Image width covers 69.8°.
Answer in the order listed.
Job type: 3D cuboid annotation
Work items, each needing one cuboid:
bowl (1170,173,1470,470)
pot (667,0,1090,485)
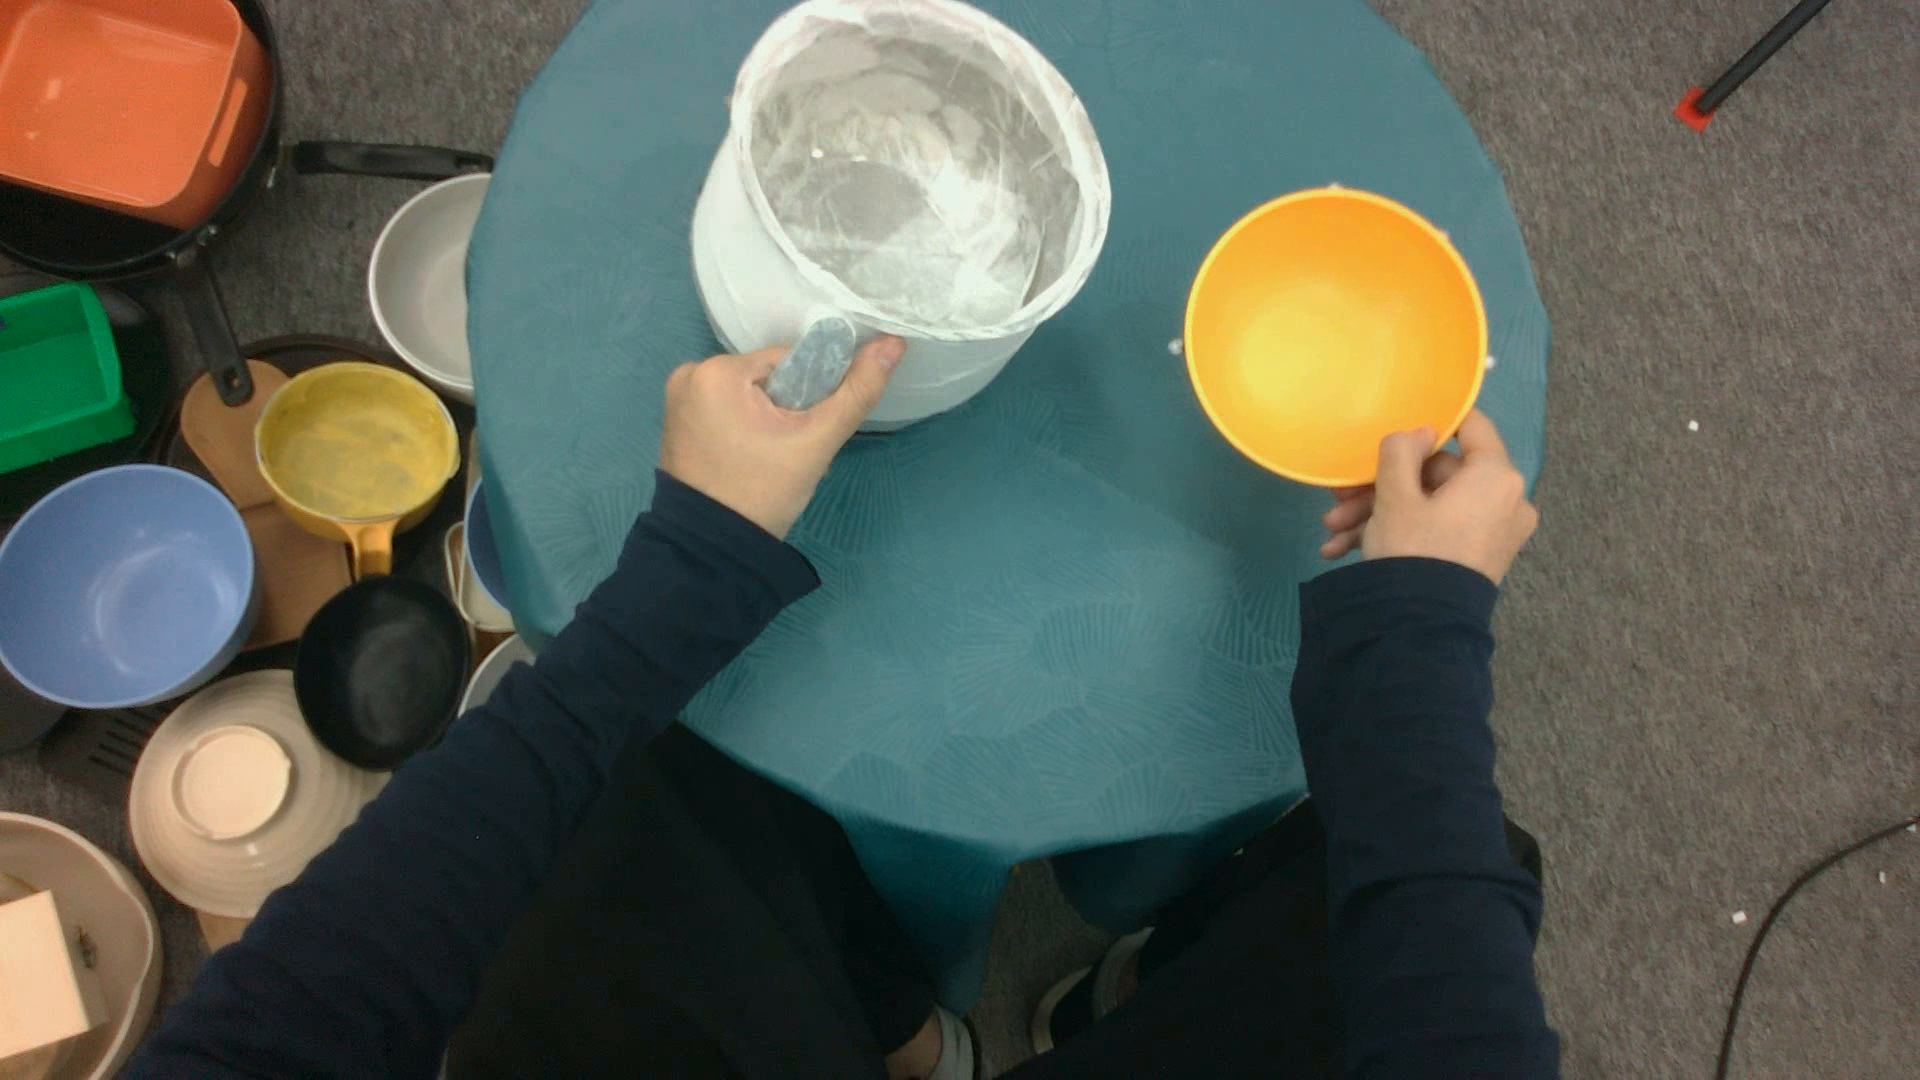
[{"bbox_3d":[0.171,-0.103,0.683,0.145,0.060,0.145,0,86,-2],"label":"bowl"},{"bbox_3d":[-0.055,-0.137,0.656,0.179,0.136,0.234,29,66,-13],"label":"pot"}]
